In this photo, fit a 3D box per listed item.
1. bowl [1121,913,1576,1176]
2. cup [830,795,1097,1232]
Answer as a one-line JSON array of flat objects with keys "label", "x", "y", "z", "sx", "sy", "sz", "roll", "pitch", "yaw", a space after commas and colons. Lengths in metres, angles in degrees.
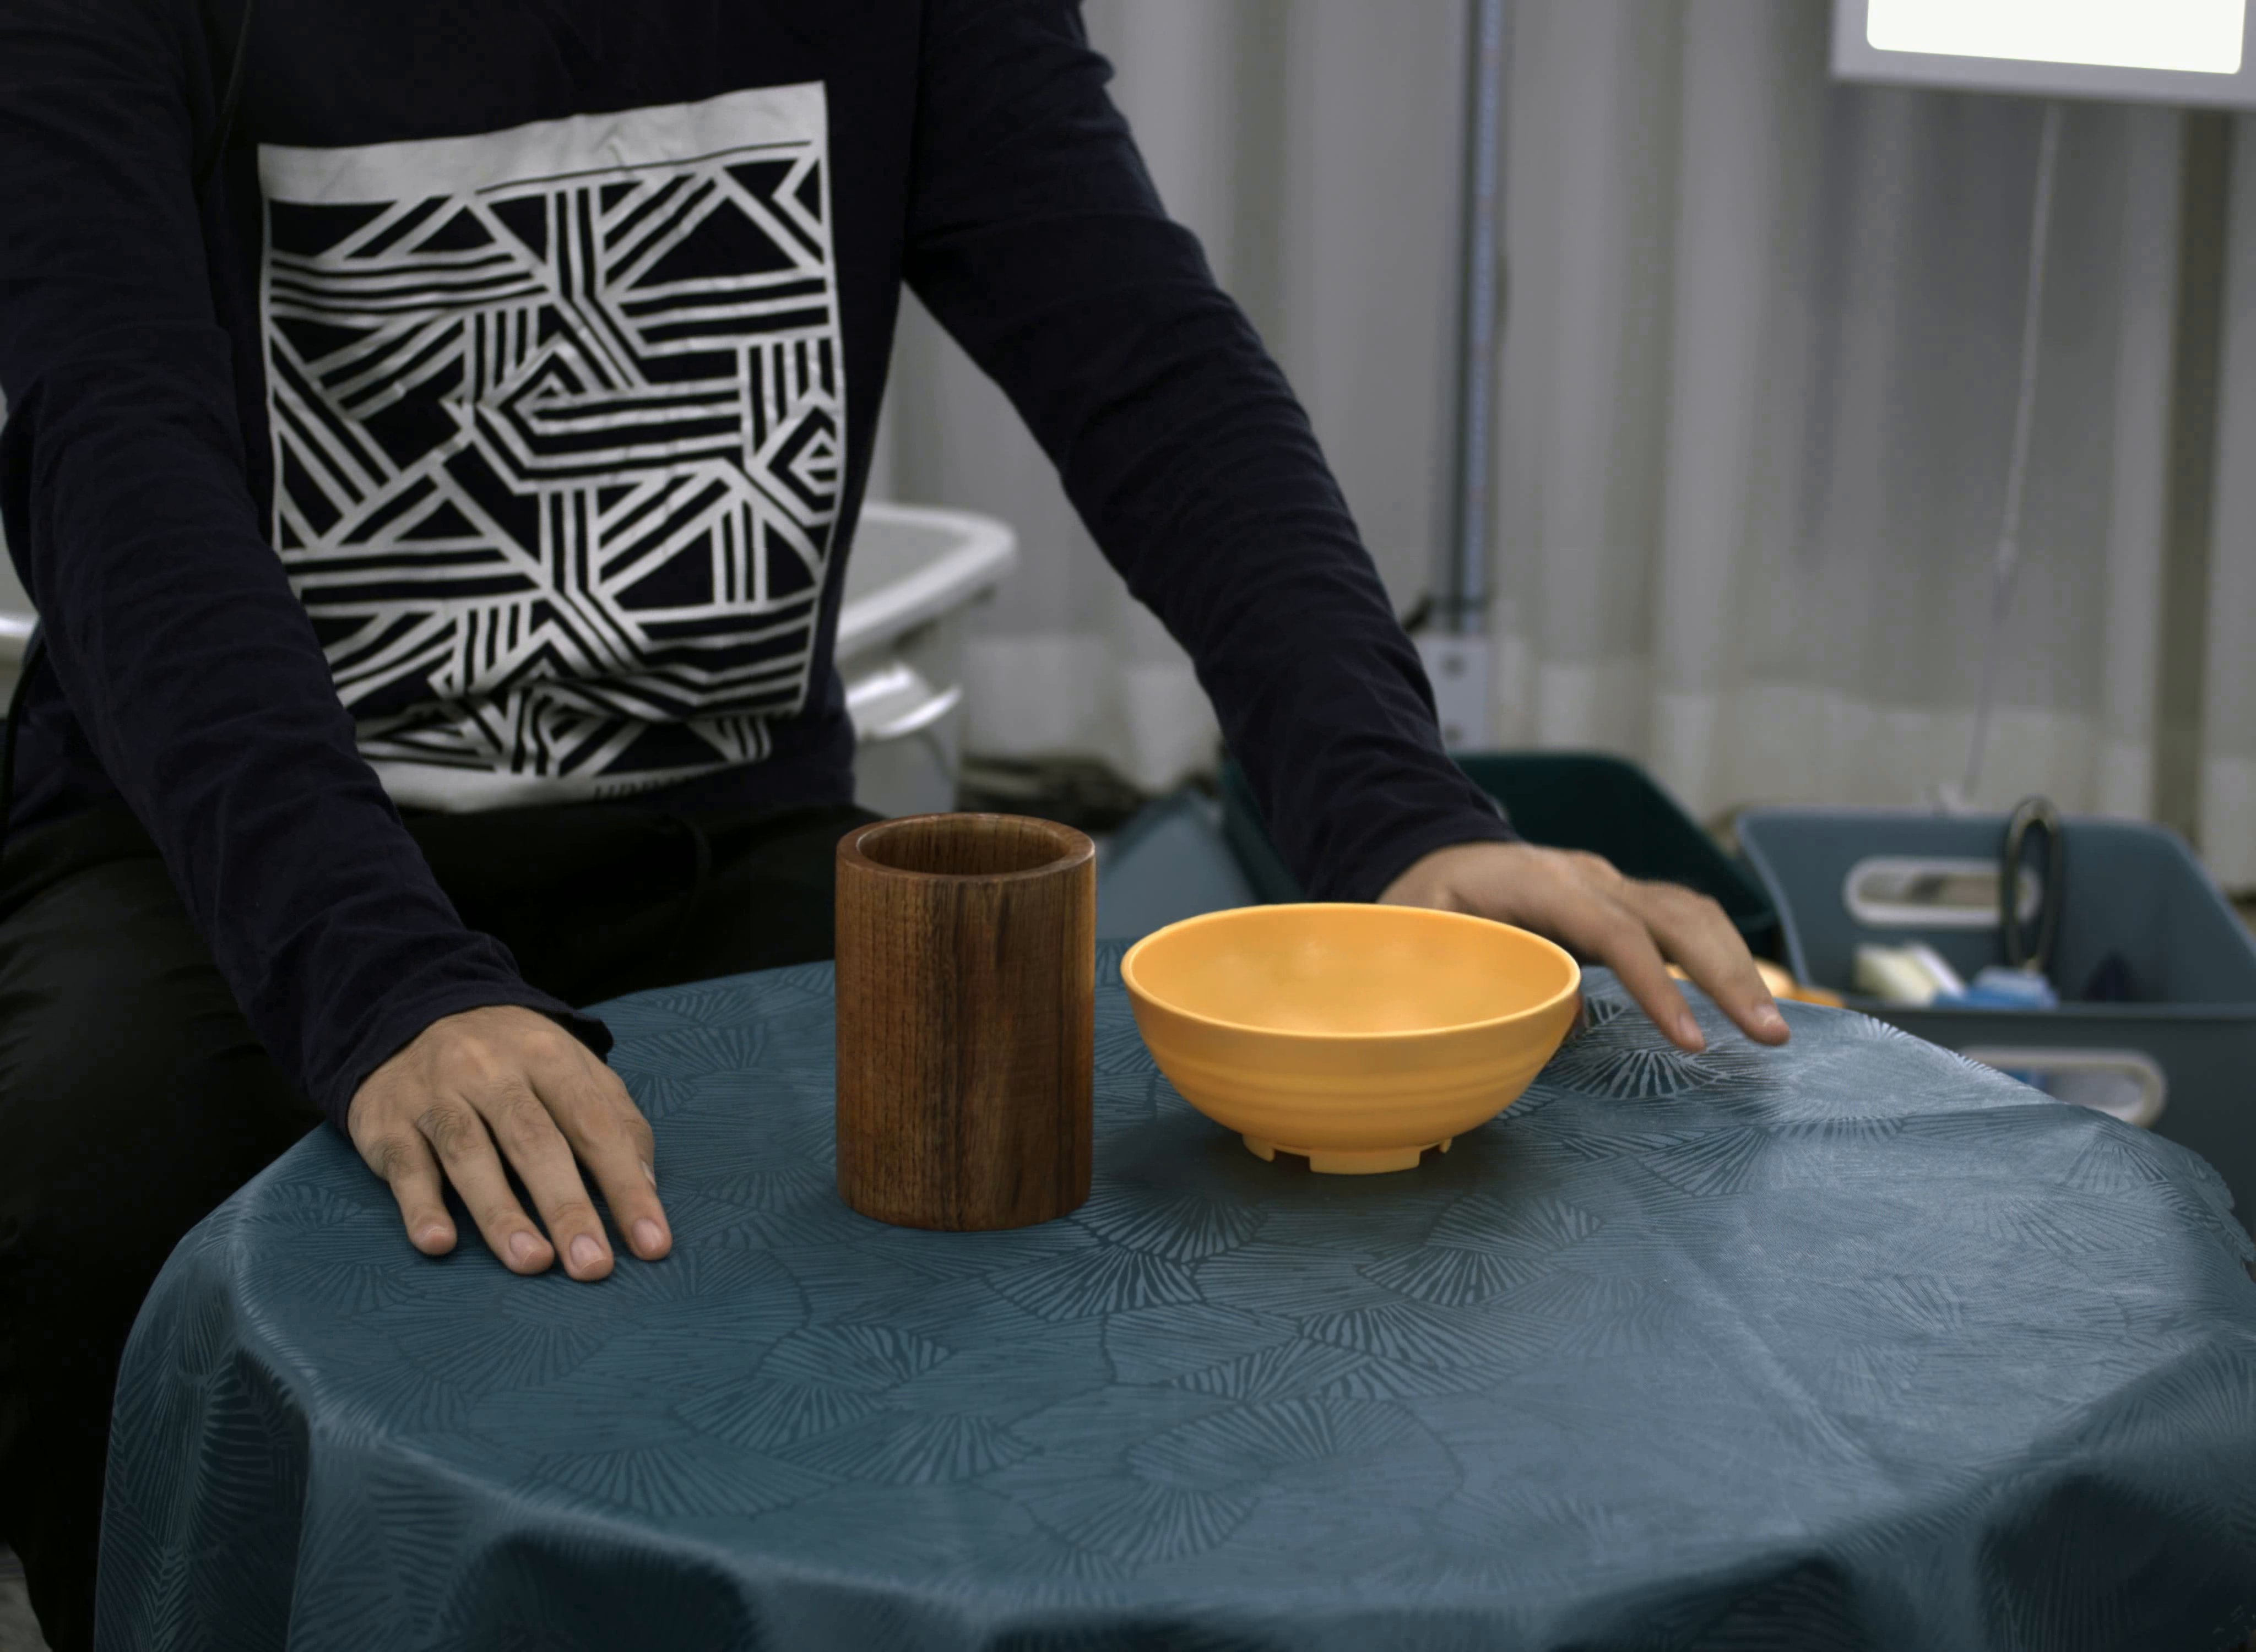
[{"label": "bowl", "x": 0.069, "y": 0.073, "z": 1.665, "sx": 0.145, "sy": 0.060, "sz": 0.144, "roll": 0, "pitch": 14, "yaw": 0}, {"label": "cup", "x": -0.051, "y": 0.056, "z": 1.608, "sx": 0.087, "sy": 0.119, "sz": 0.087, "roll": 2, "pitch": 14, "yaw": 0}]
